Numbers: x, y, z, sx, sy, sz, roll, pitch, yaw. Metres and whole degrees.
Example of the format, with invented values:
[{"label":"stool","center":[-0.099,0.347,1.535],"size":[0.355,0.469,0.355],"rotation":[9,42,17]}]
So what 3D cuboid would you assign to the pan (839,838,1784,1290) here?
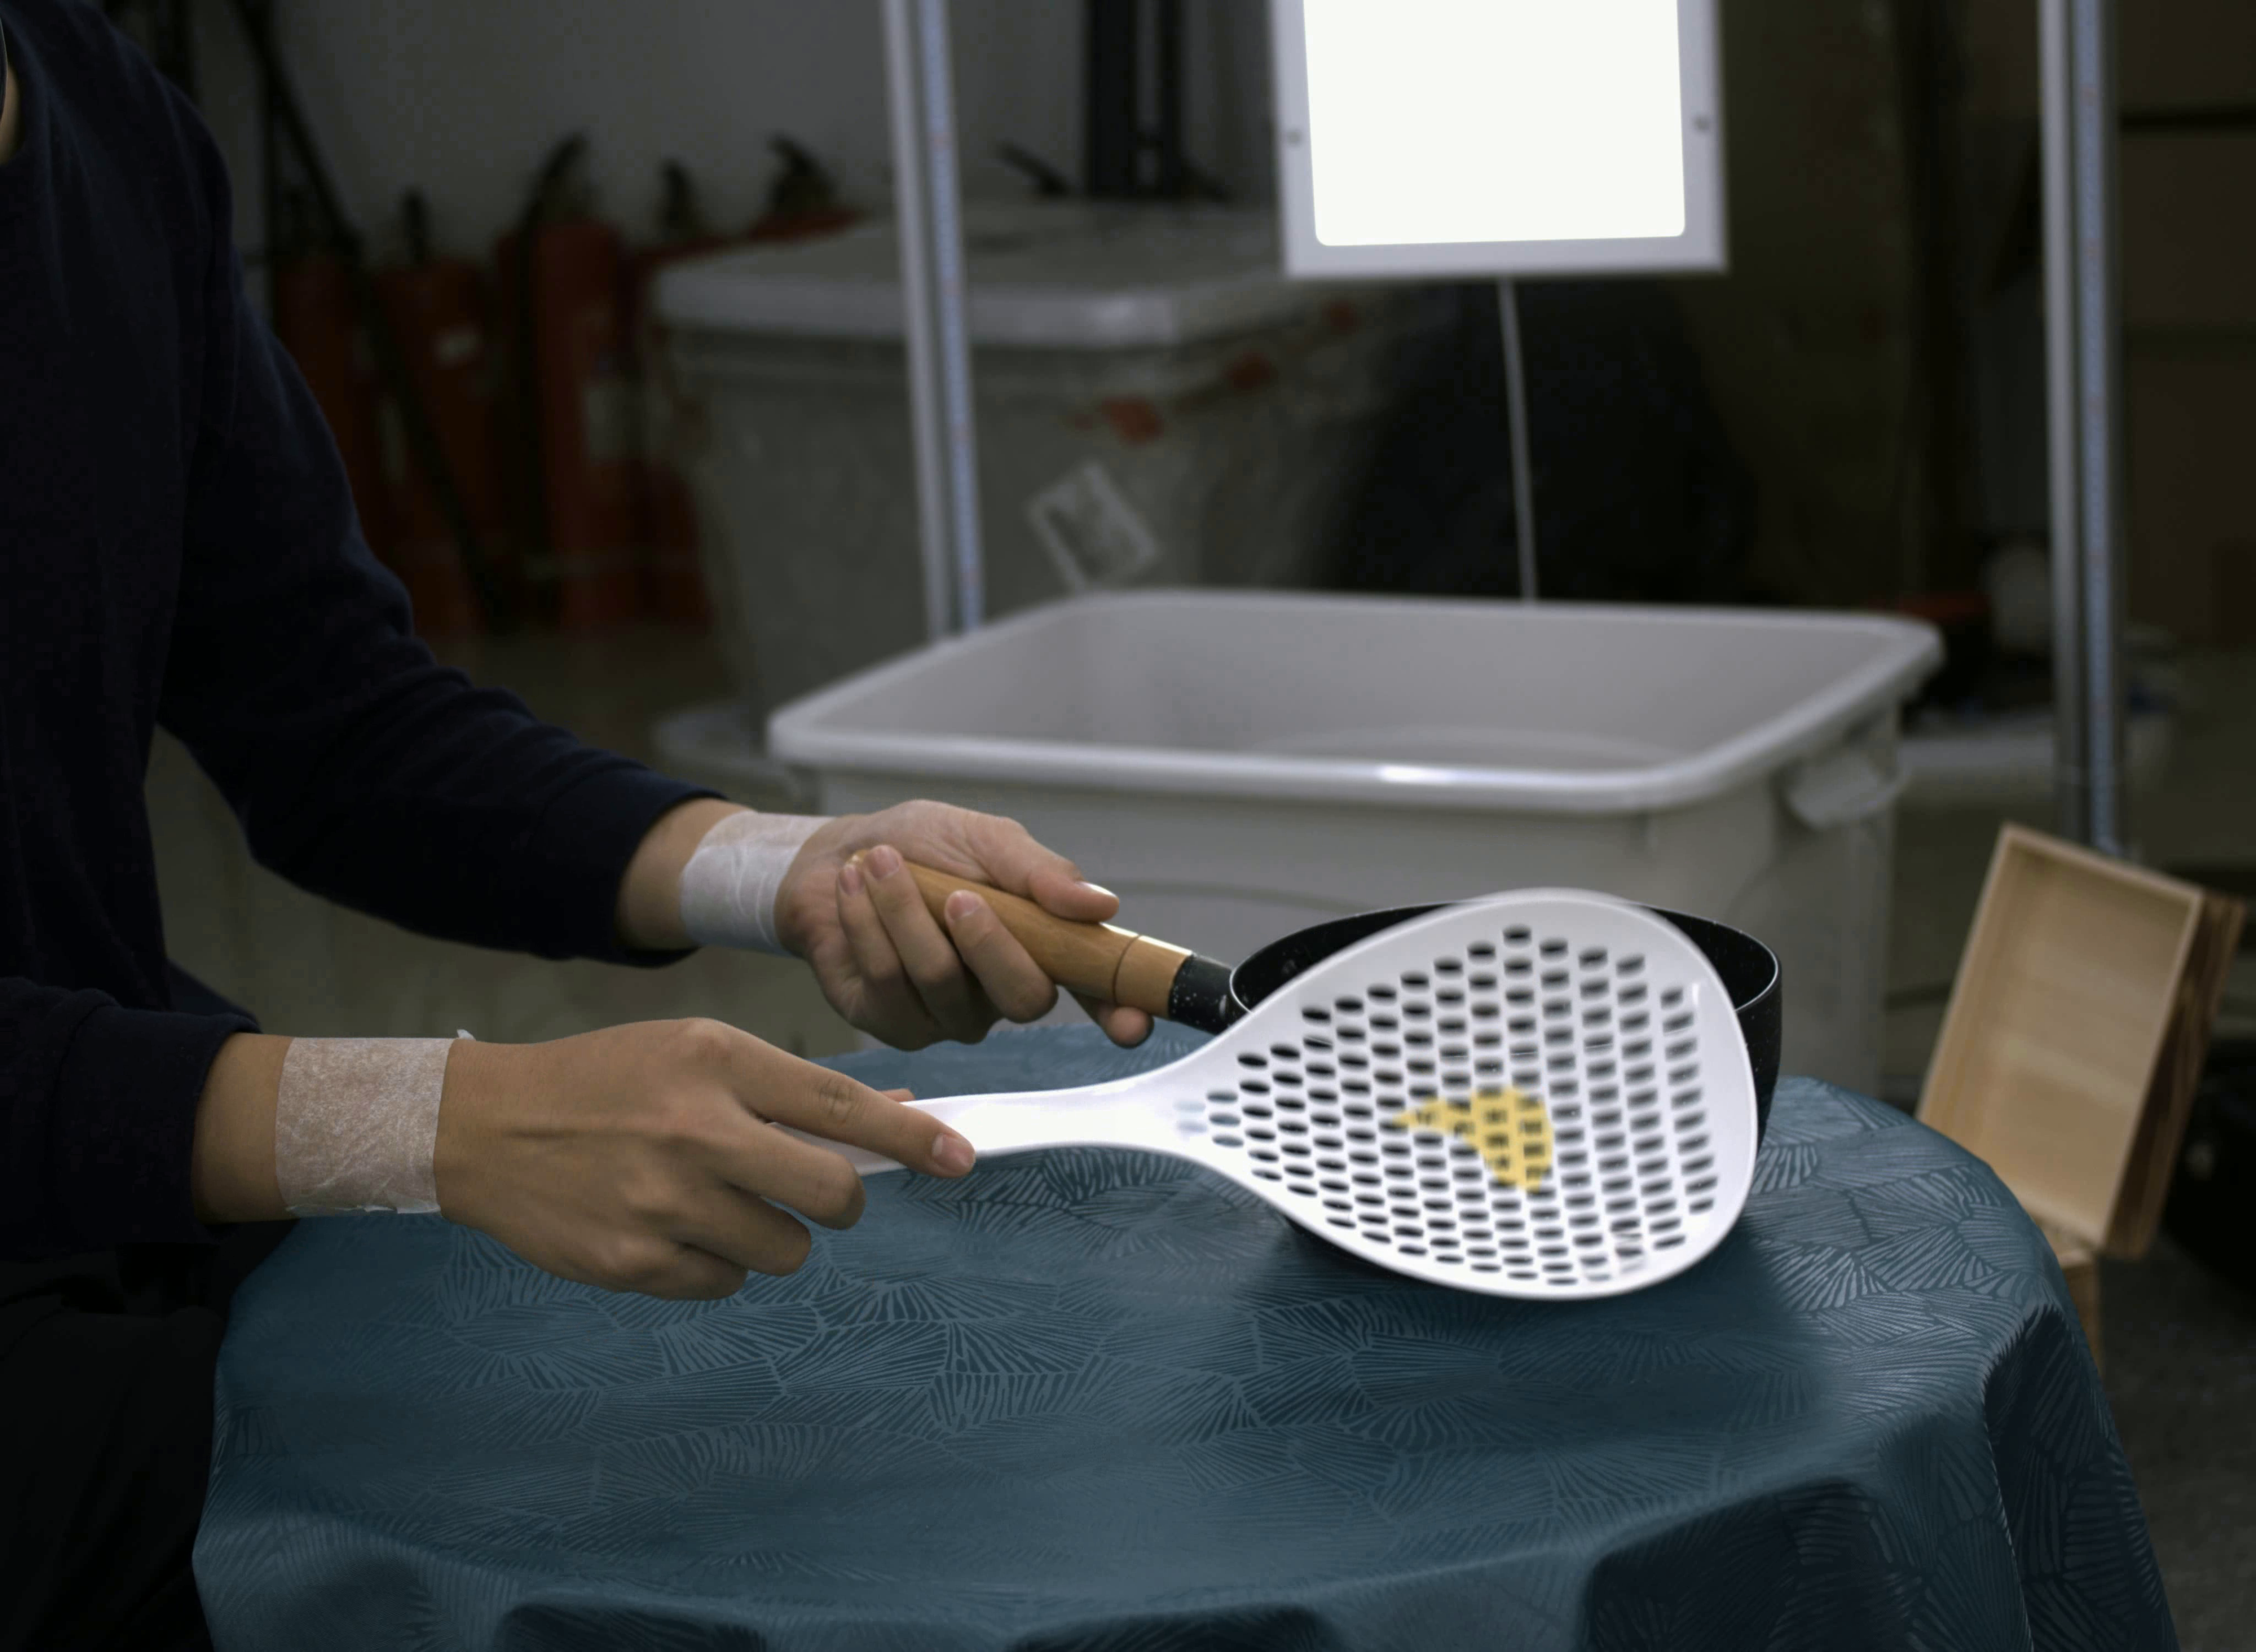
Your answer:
[{"label":"pan","center":[0.054,0.072,1.859],"size":[0.348,0.109,0.203],"rotation":[5,18,26]}]

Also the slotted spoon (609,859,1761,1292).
[{"label":"slotted spoon","center":[0.017,0.090,1.656],"size":[0.345,0.137,0.050],"rotation":[-5,-21,-7]}]
